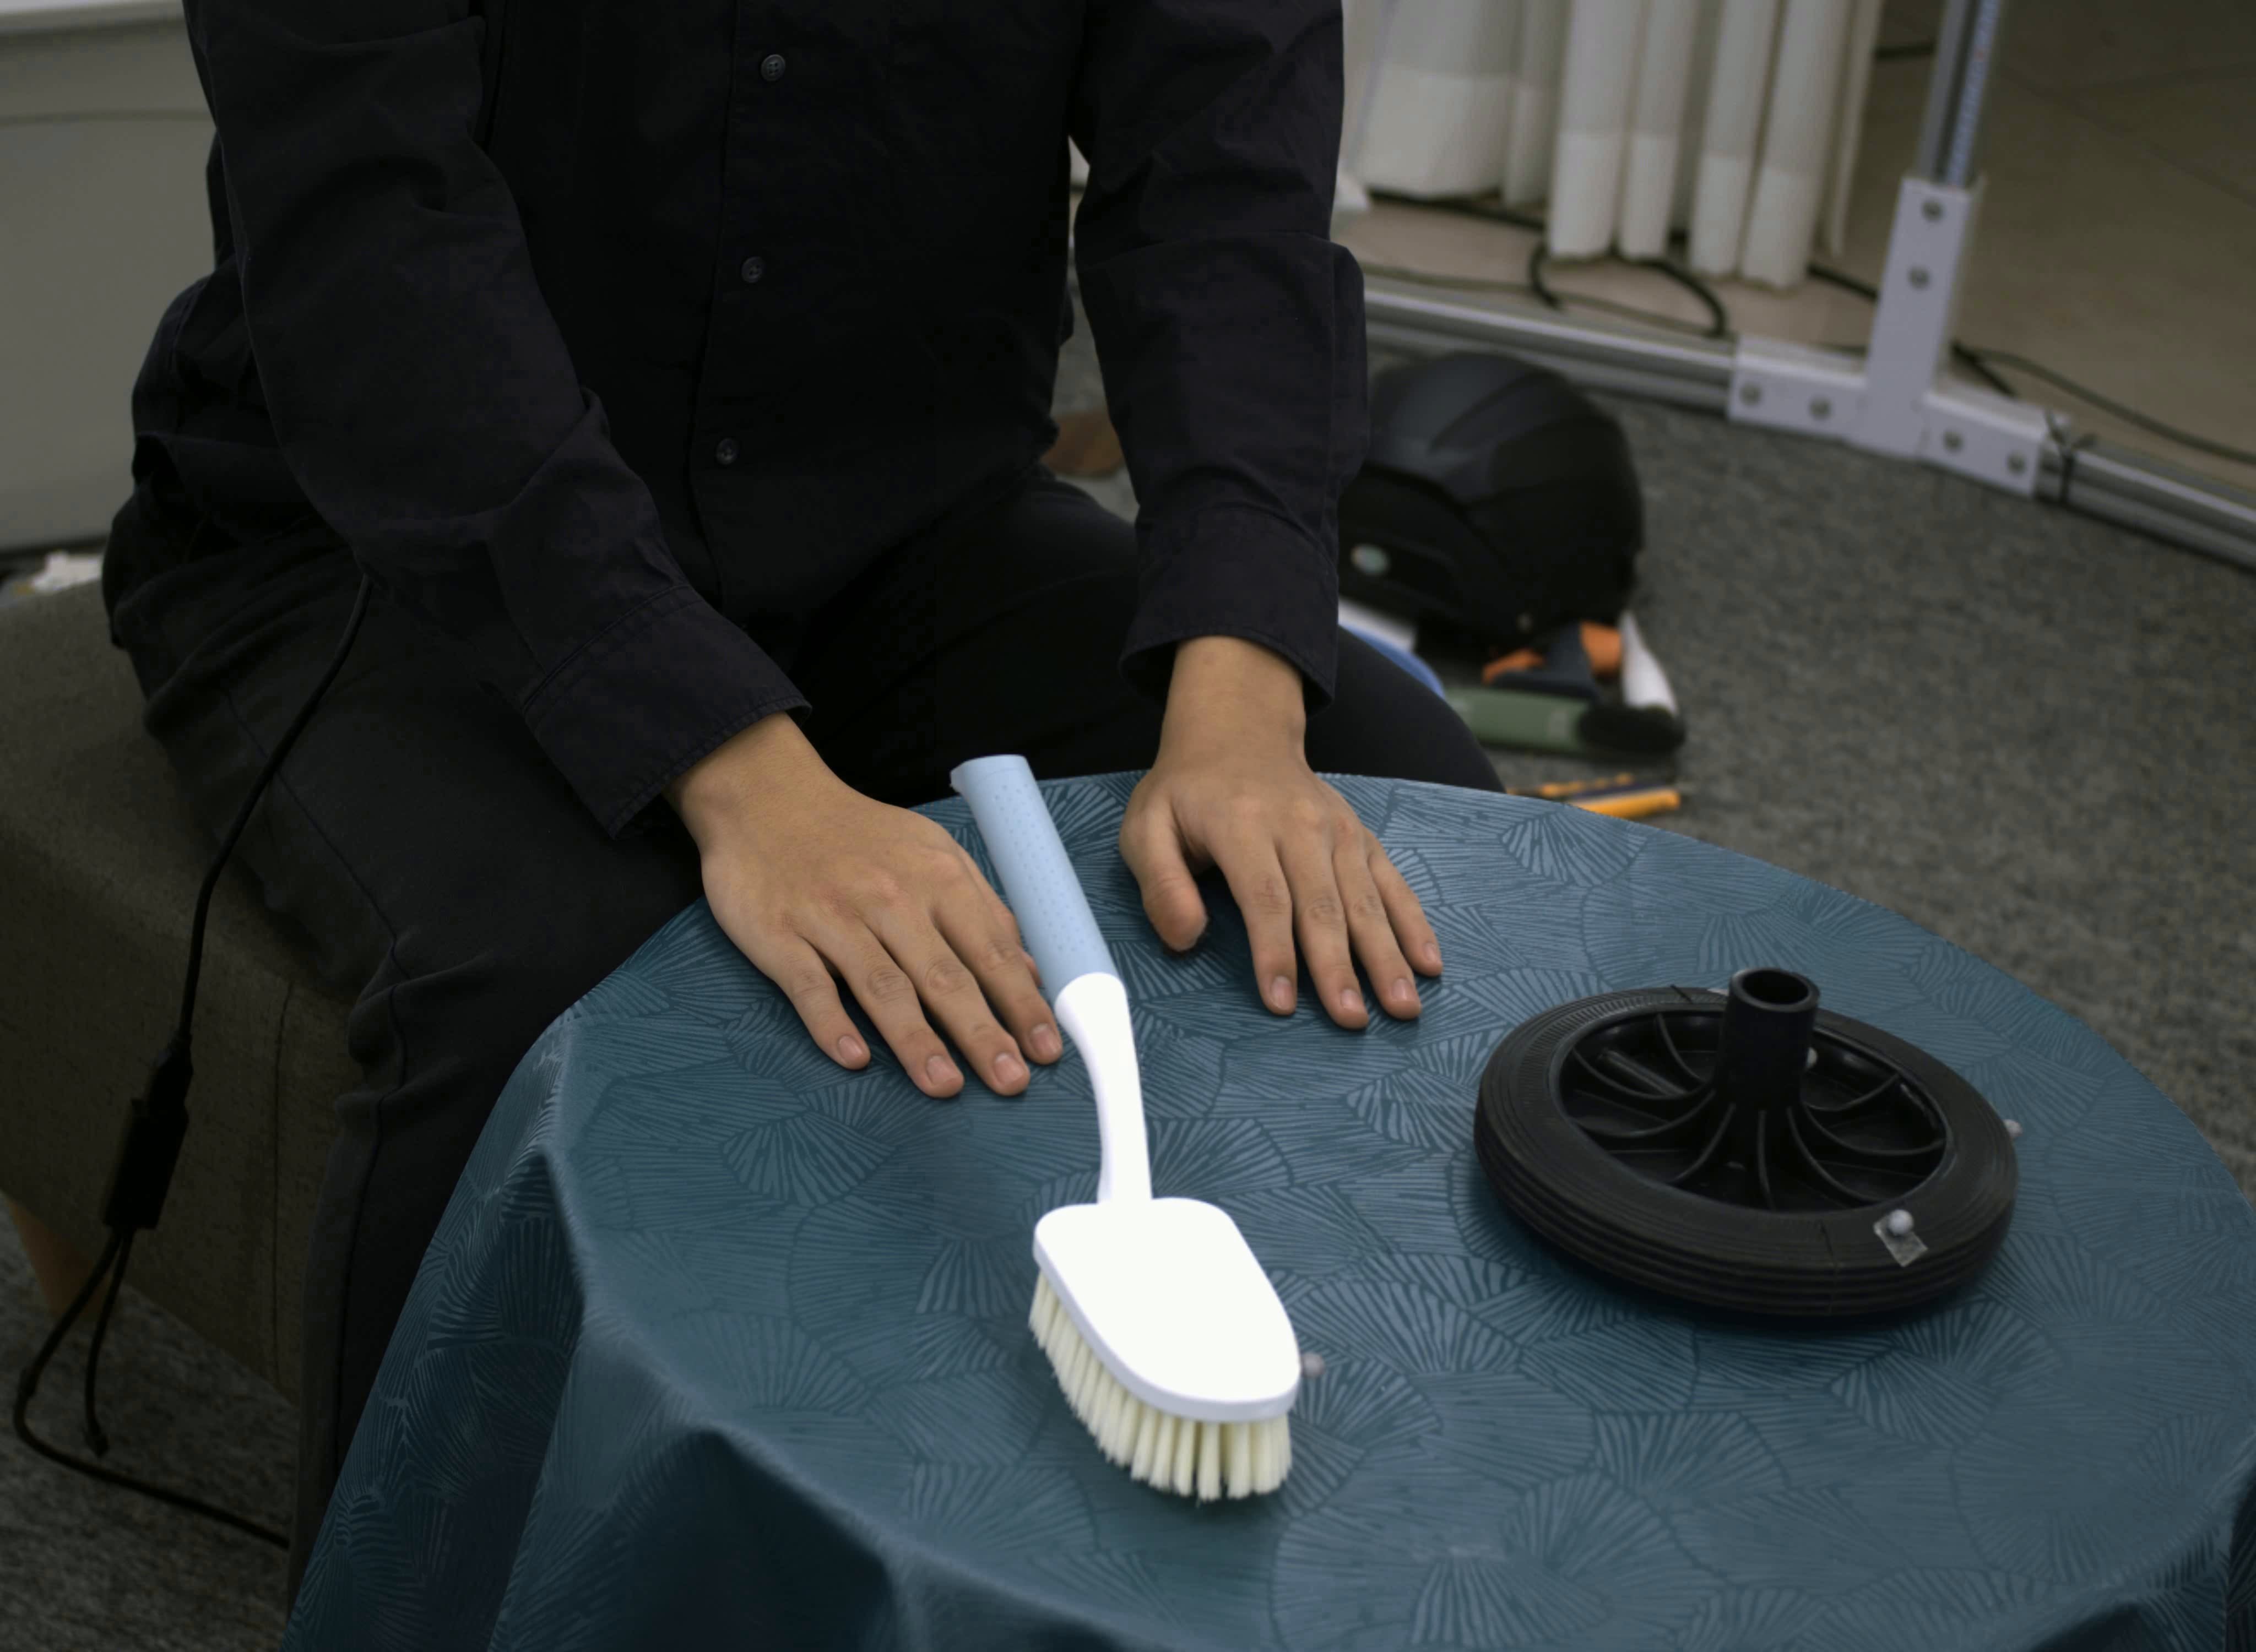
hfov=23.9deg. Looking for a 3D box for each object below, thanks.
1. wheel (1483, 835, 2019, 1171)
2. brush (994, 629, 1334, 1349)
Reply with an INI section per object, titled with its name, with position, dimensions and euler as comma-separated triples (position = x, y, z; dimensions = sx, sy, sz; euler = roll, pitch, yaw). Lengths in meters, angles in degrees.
[wheel]
position = 0.220, 0.045, 1.857
dimensions = 0.189, 0.079, 0.189
euler = -21, 38, -40
[brush]
position = 0.005, 0.062, 1.778
dimensions = 0.082, 0.084, 0.328
euler = 33, 23, -38
